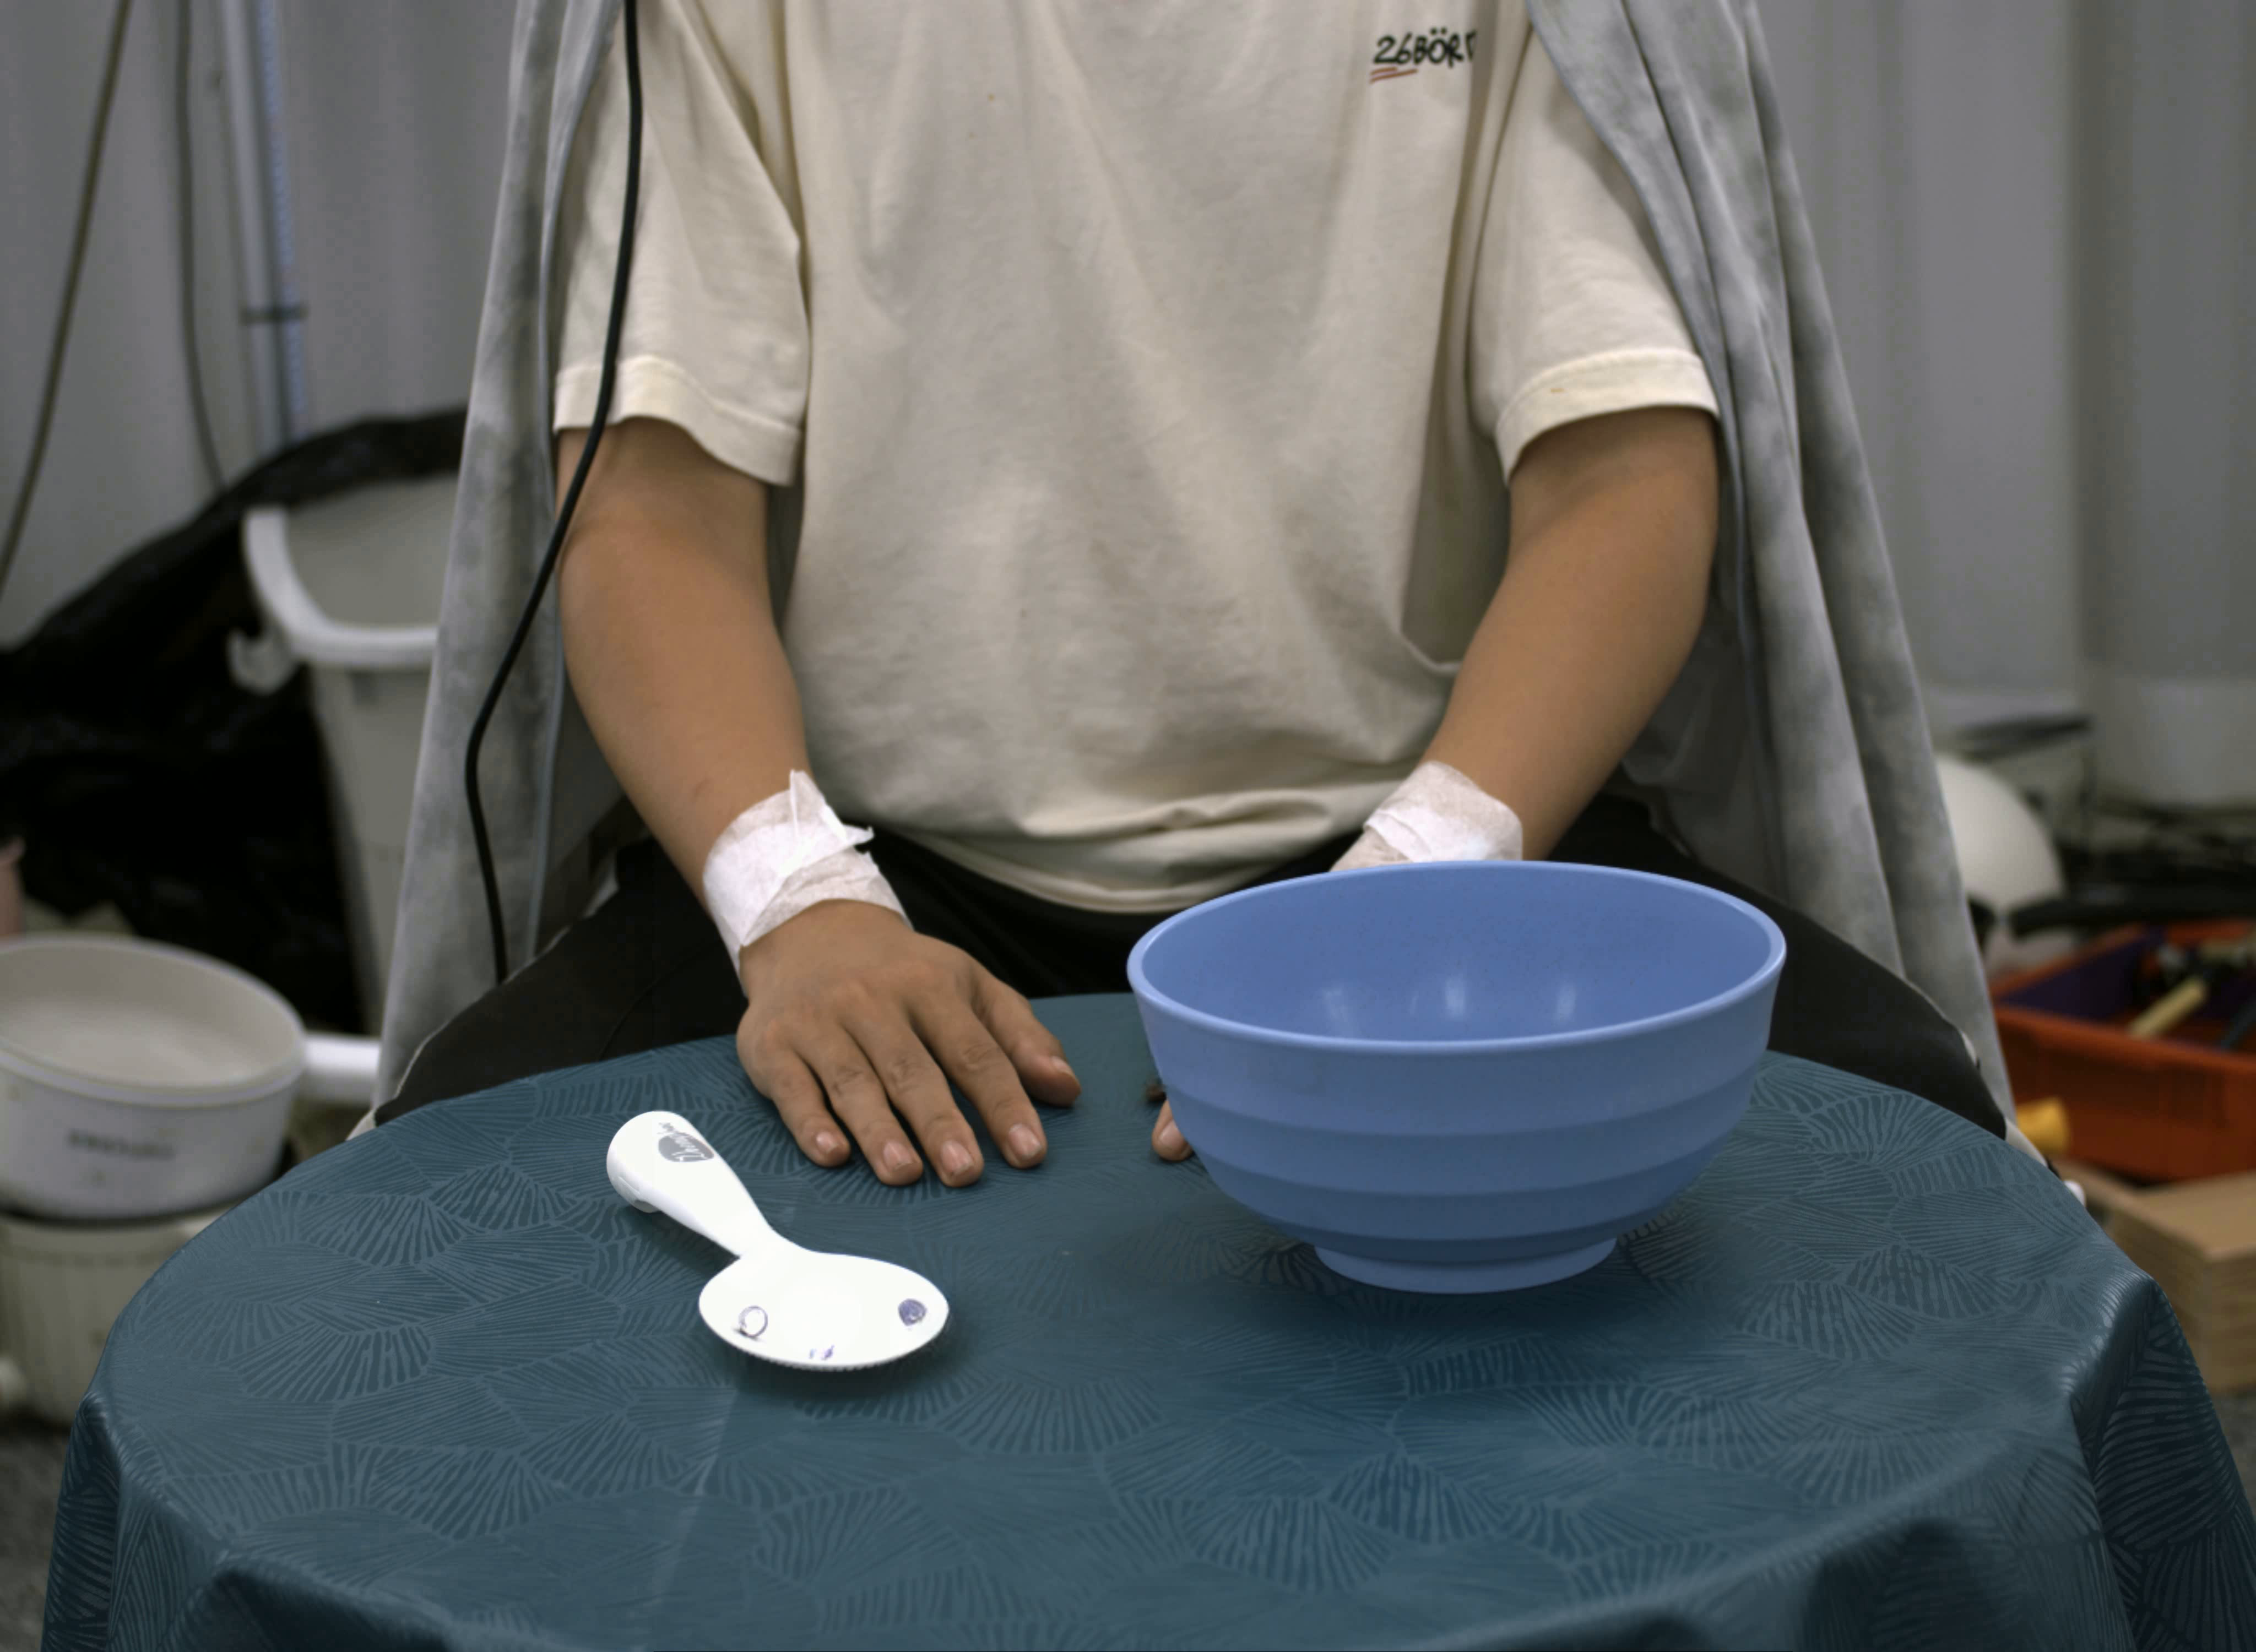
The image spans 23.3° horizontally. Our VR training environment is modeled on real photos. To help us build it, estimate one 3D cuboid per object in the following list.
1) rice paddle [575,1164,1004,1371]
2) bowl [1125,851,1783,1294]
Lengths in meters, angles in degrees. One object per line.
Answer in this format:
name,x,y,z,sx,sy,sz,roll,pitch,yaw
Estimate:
rice paddle,-0.104,0.134,1.629,0.068,0.029,0.206,3,6,-33
bowl,0.099,0.080,1.643,0.196,0.095,0.198,-4,16,1
